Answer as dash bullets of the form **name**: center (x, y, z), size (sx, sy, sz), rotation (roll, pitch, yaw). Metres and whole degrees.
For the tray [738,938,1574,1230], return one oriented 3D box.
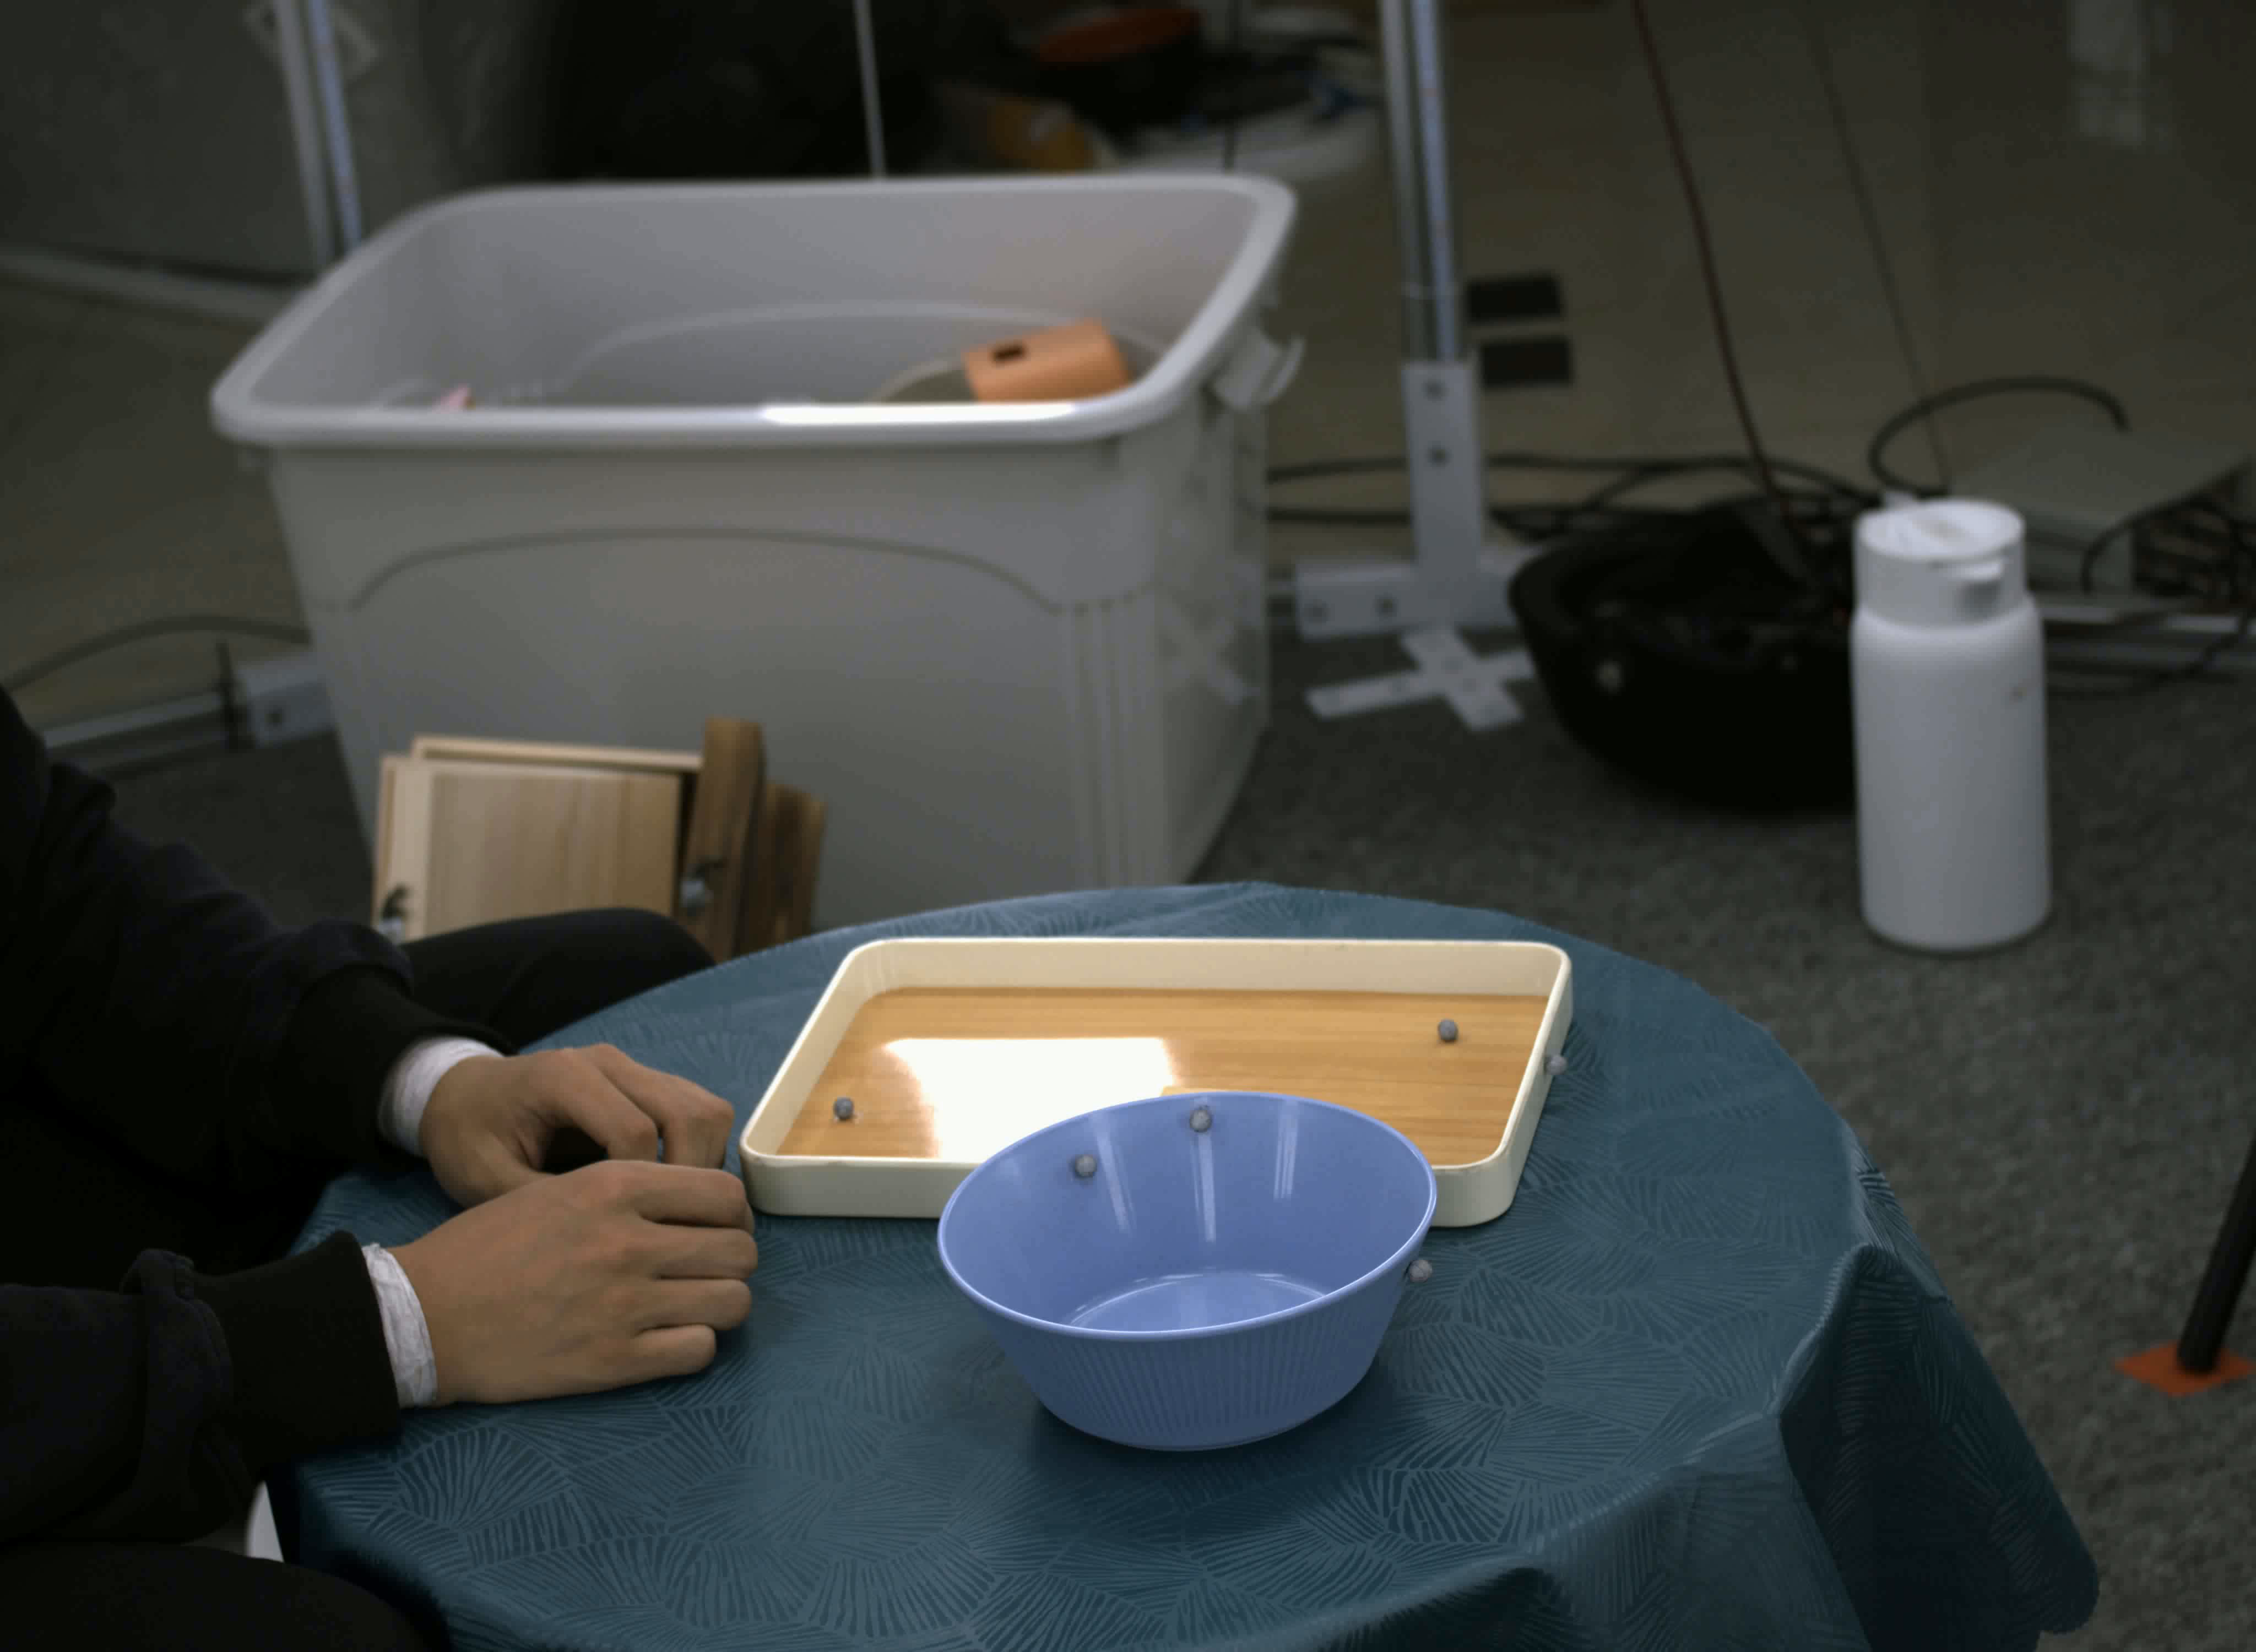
- **tray**: center (0.014, 0.099, 2.205), size (0.299, 0.028, 0.189), rotation (0, 26, 14)

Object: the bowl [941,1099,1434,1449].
- **bowl**: center (0.024, 0.164, 2.007), size (0.176, 0.071, 0.173), rotation (-5, 24, 2)
